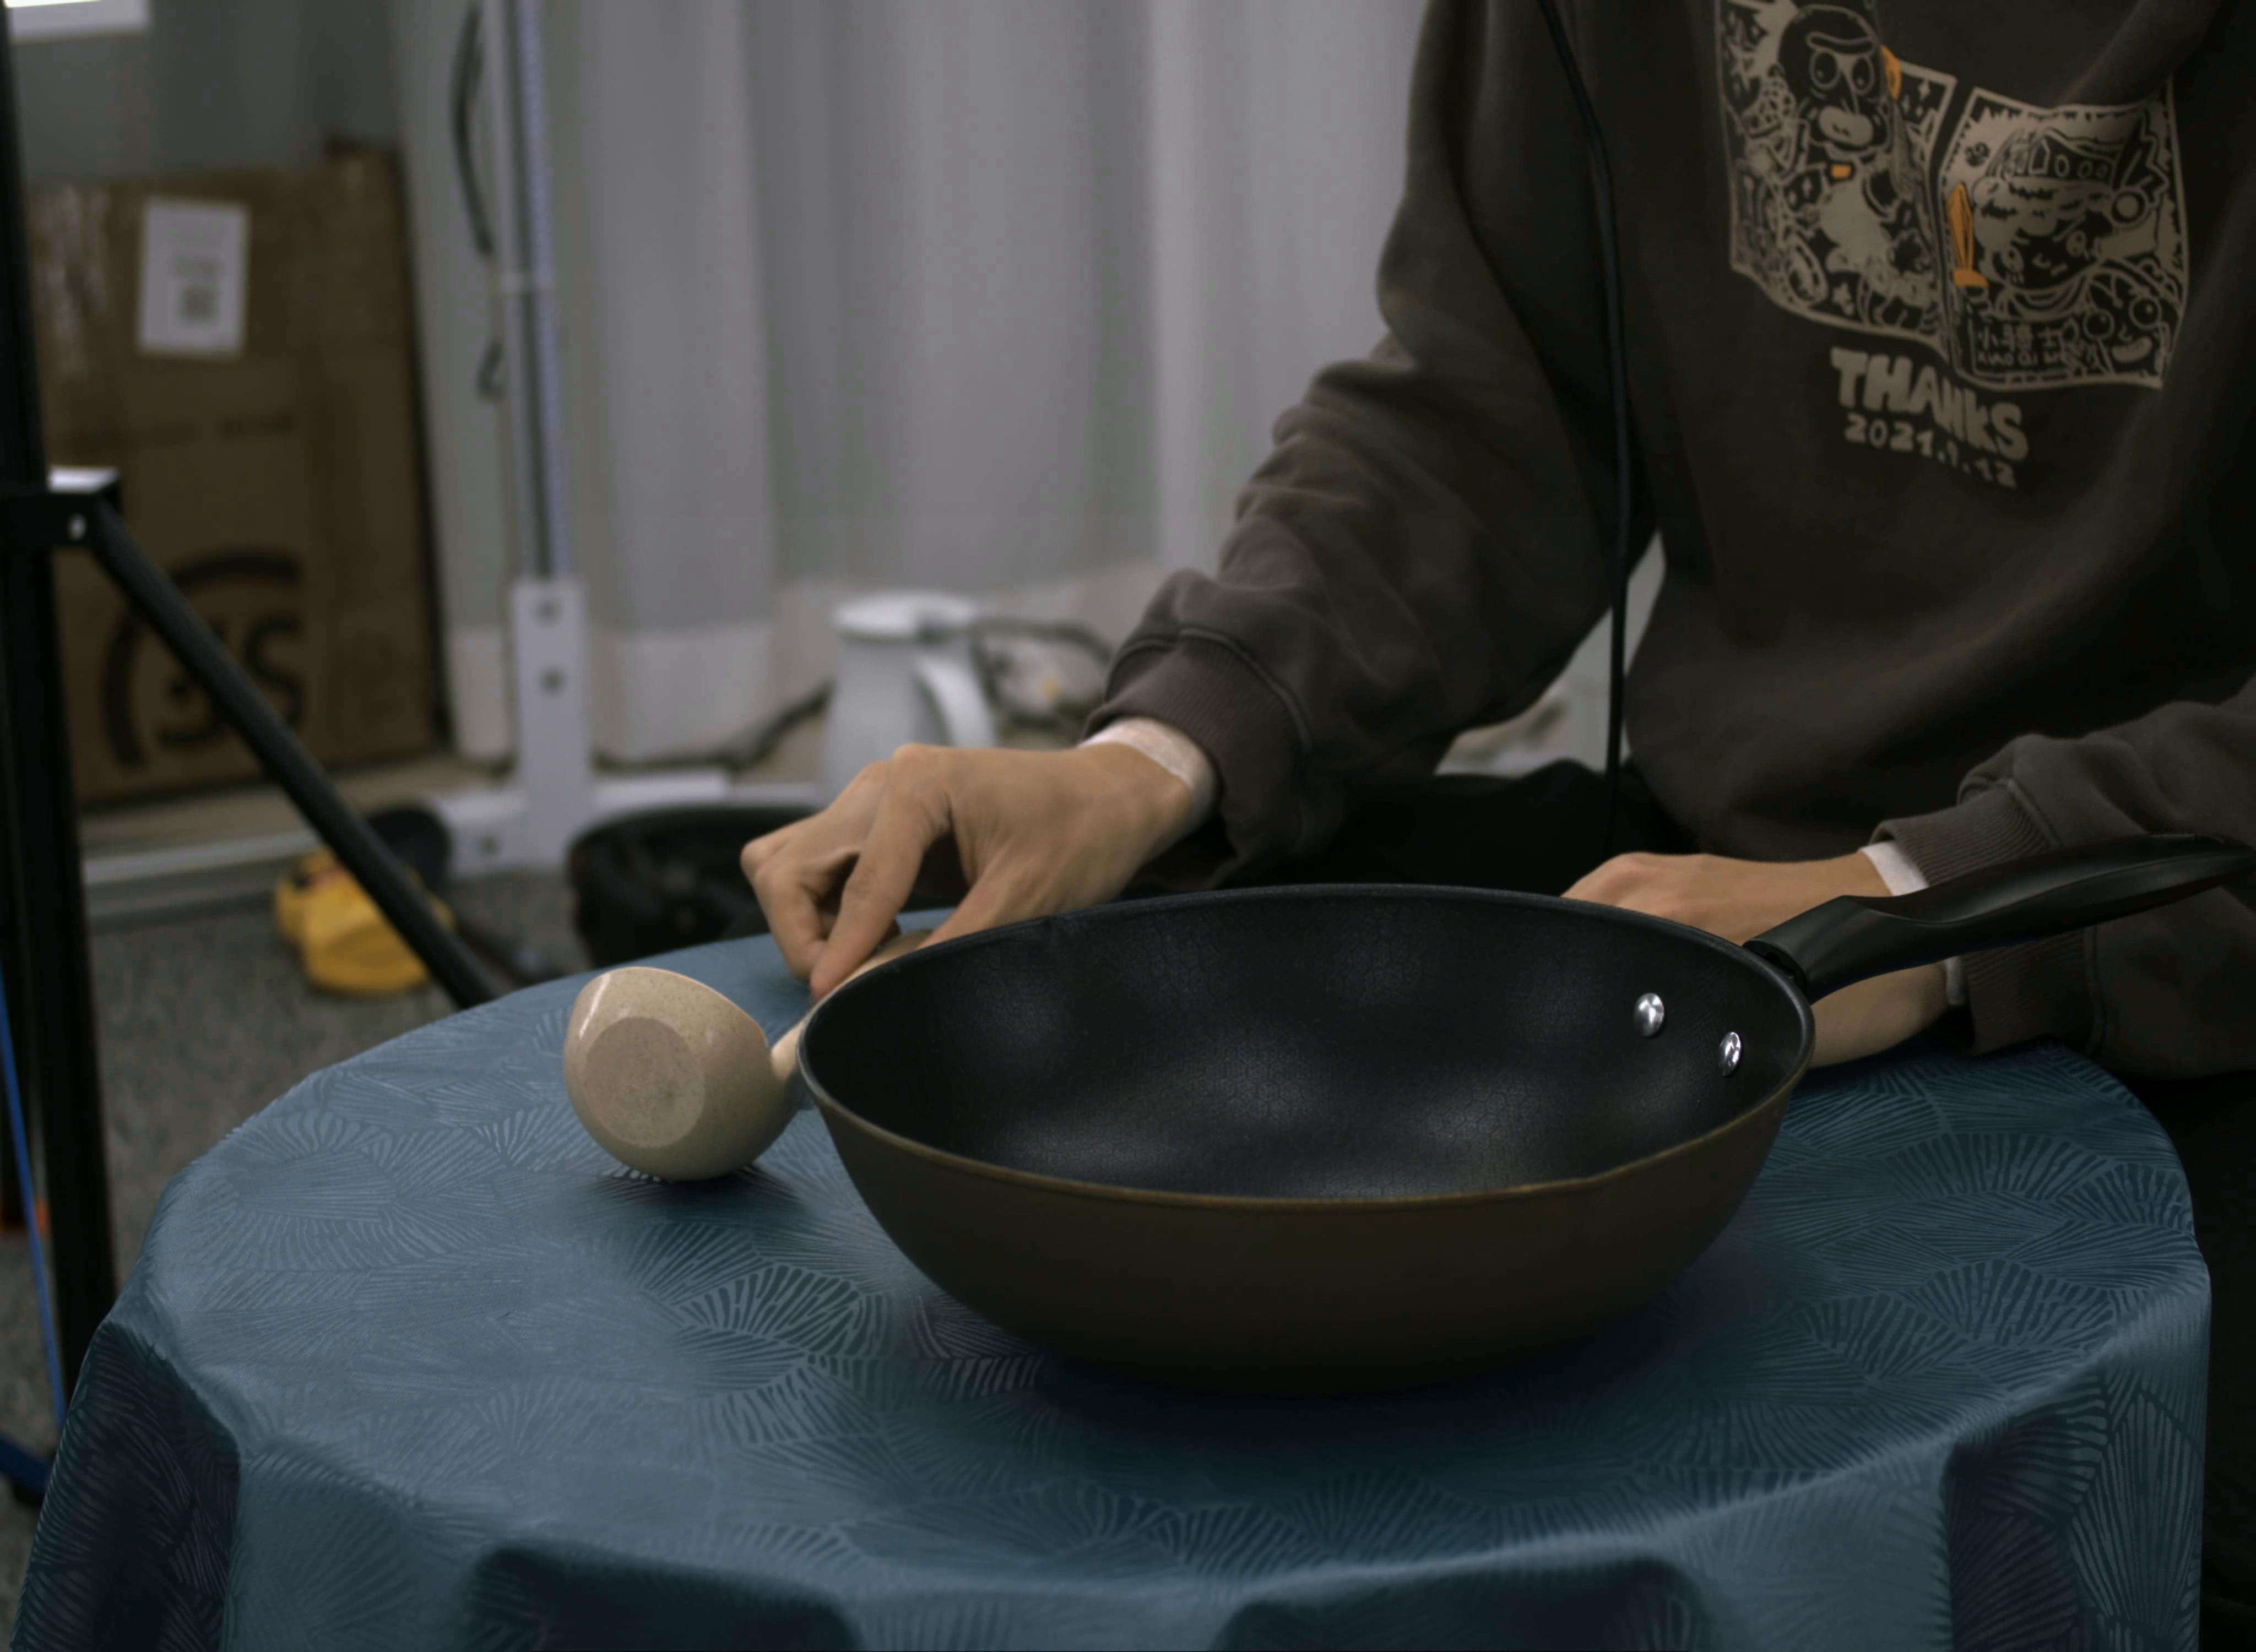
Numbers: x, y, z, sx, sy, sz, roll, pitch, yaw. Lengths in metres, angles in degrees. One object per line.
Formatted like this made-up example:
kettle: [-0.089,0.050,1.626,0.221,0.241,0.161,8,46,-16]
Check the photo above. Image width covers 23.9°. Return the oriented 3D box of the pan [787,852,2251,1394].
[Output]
pan: [0.127,0.077,1.497,0.453,0.087,0.294,-9,17,-25]

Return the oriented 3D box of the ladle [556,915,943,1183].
ladle: [-0.105,0.040,1.674,0.073,0.073,0.252,8,21,16]
